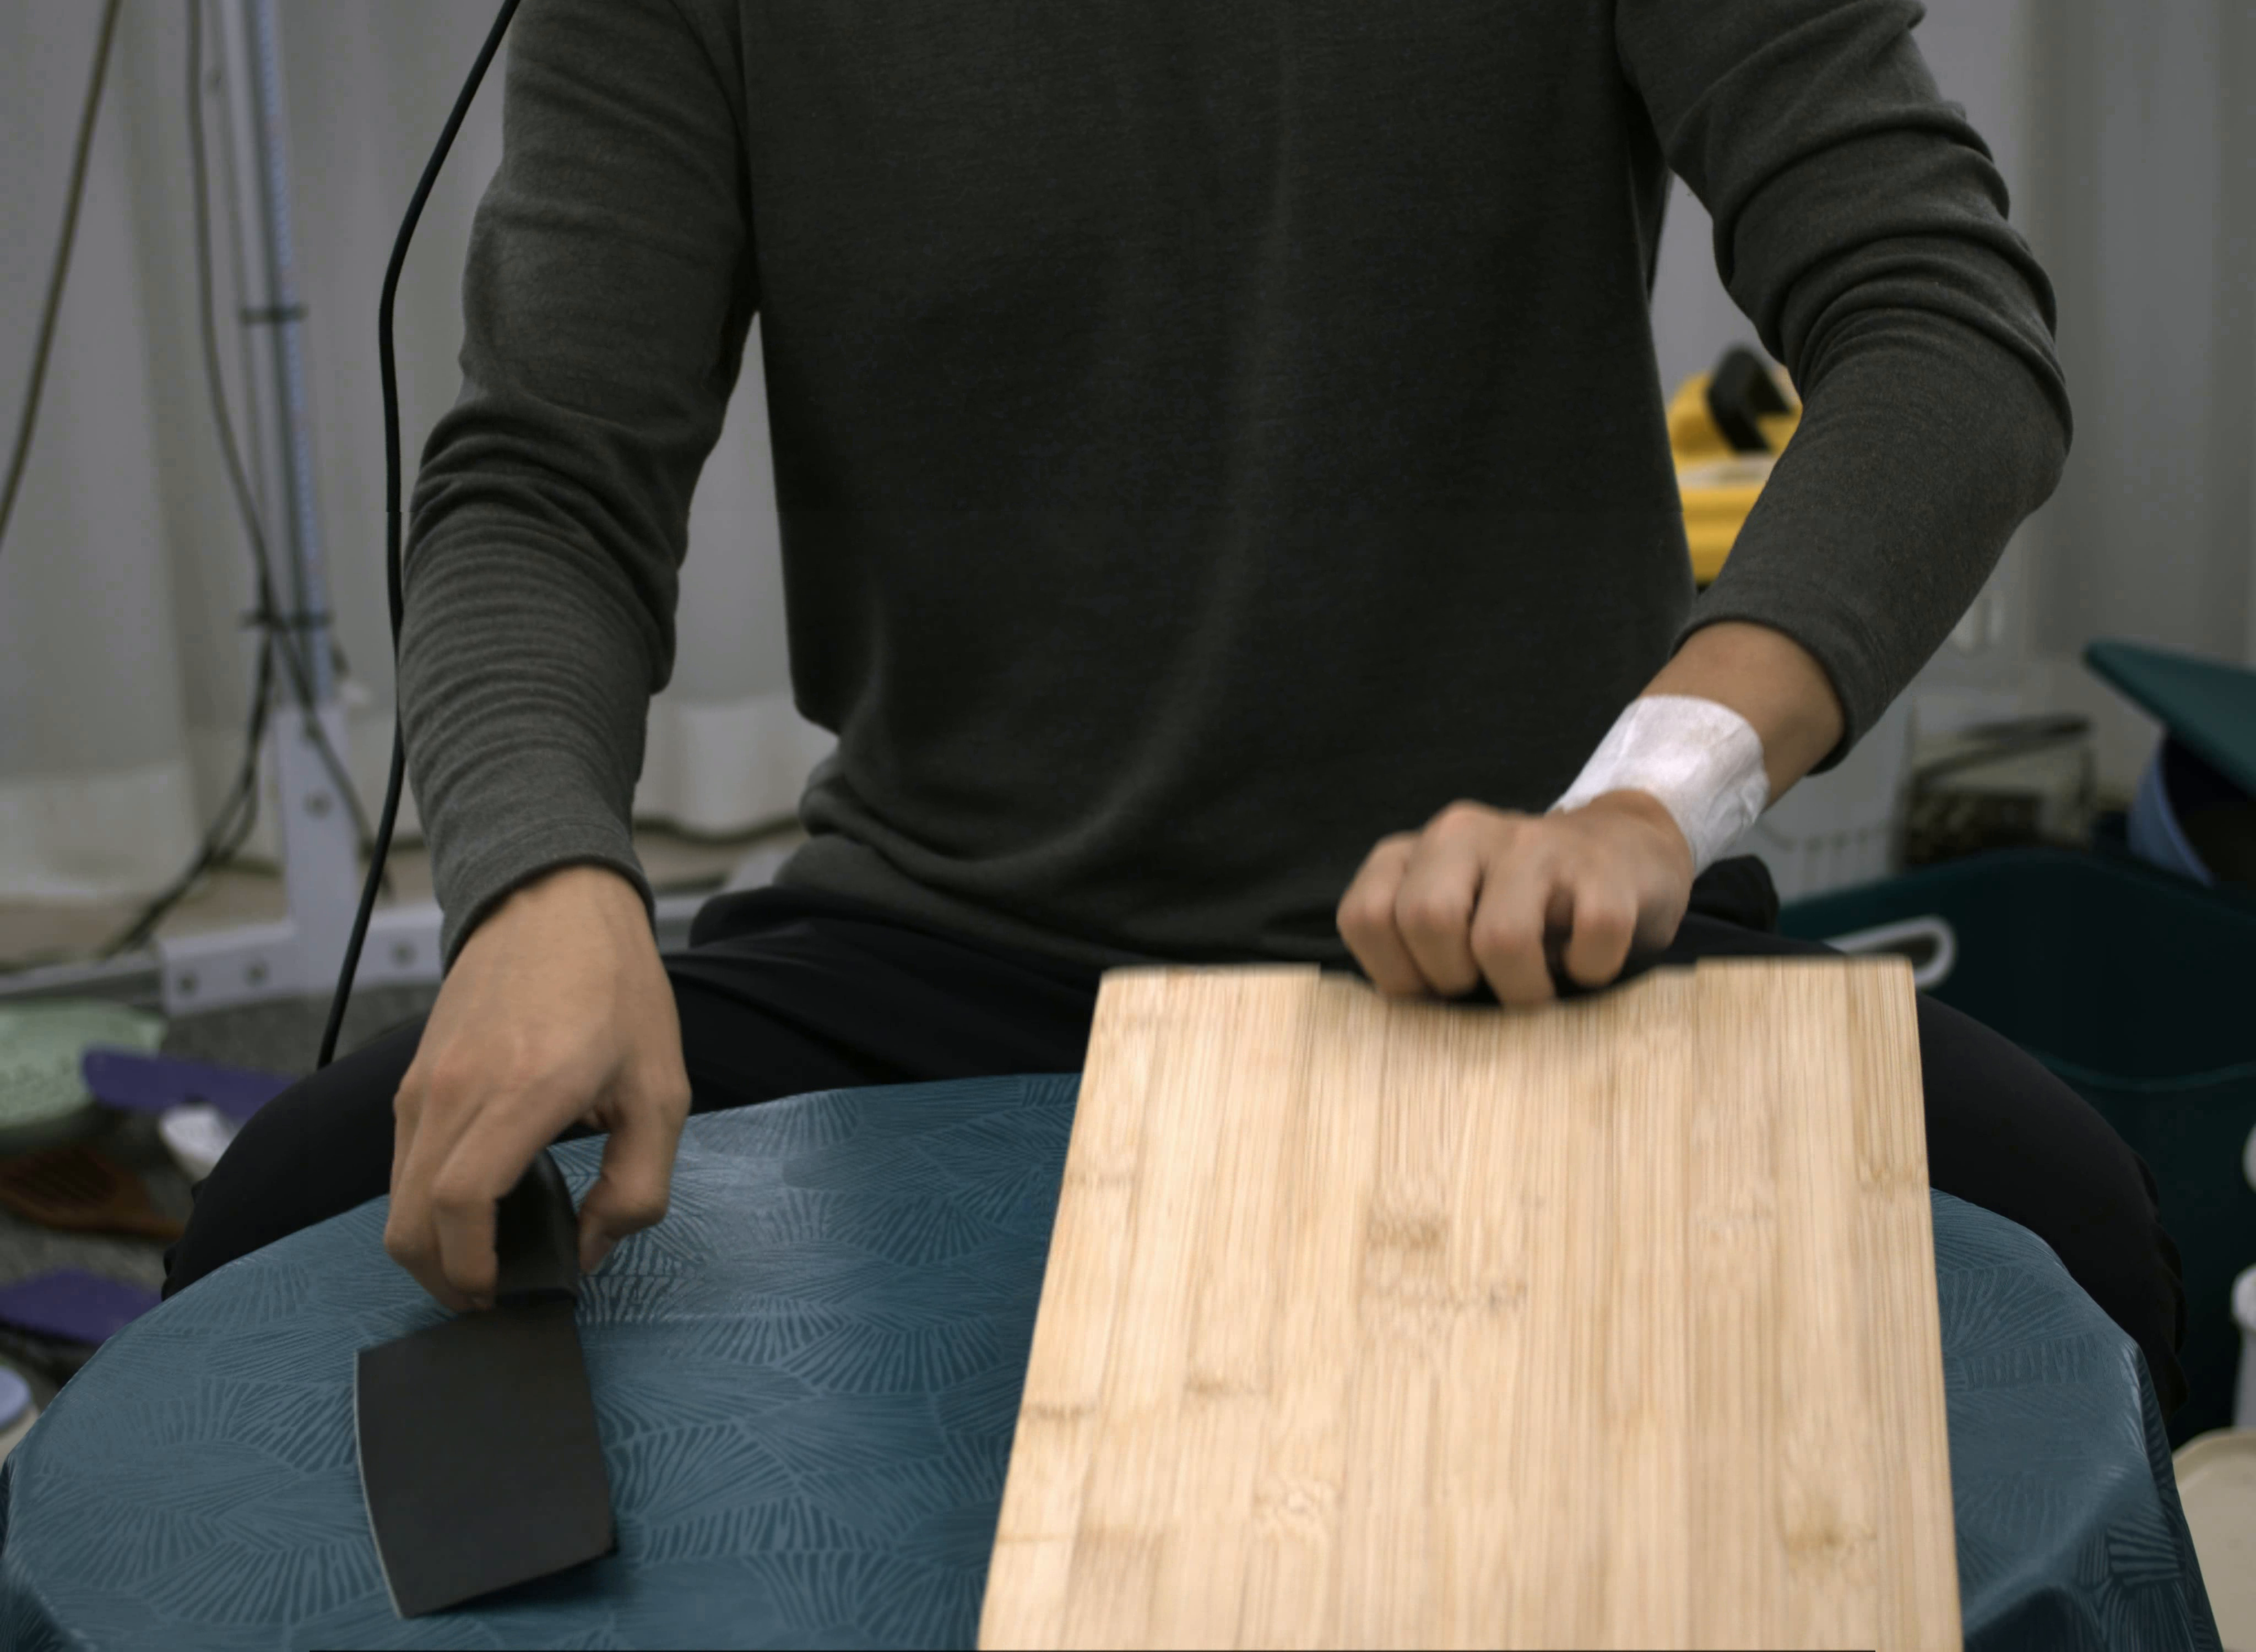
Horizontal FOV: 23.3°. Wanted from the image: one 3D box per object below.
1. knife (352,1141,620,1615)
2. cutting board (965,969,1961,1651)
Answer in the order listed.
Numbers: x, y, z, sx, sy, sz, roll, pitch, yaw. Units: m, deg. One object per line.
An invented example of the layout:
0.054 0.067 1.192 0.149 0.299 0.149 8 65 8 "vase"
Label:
-0.182 0.152 1.552 0.080 0.021 0.305 -15 19 0 "knife"
0.097 0.130 1.470 0.250 0.023 0.352 -1 27 6 "cutting board"
